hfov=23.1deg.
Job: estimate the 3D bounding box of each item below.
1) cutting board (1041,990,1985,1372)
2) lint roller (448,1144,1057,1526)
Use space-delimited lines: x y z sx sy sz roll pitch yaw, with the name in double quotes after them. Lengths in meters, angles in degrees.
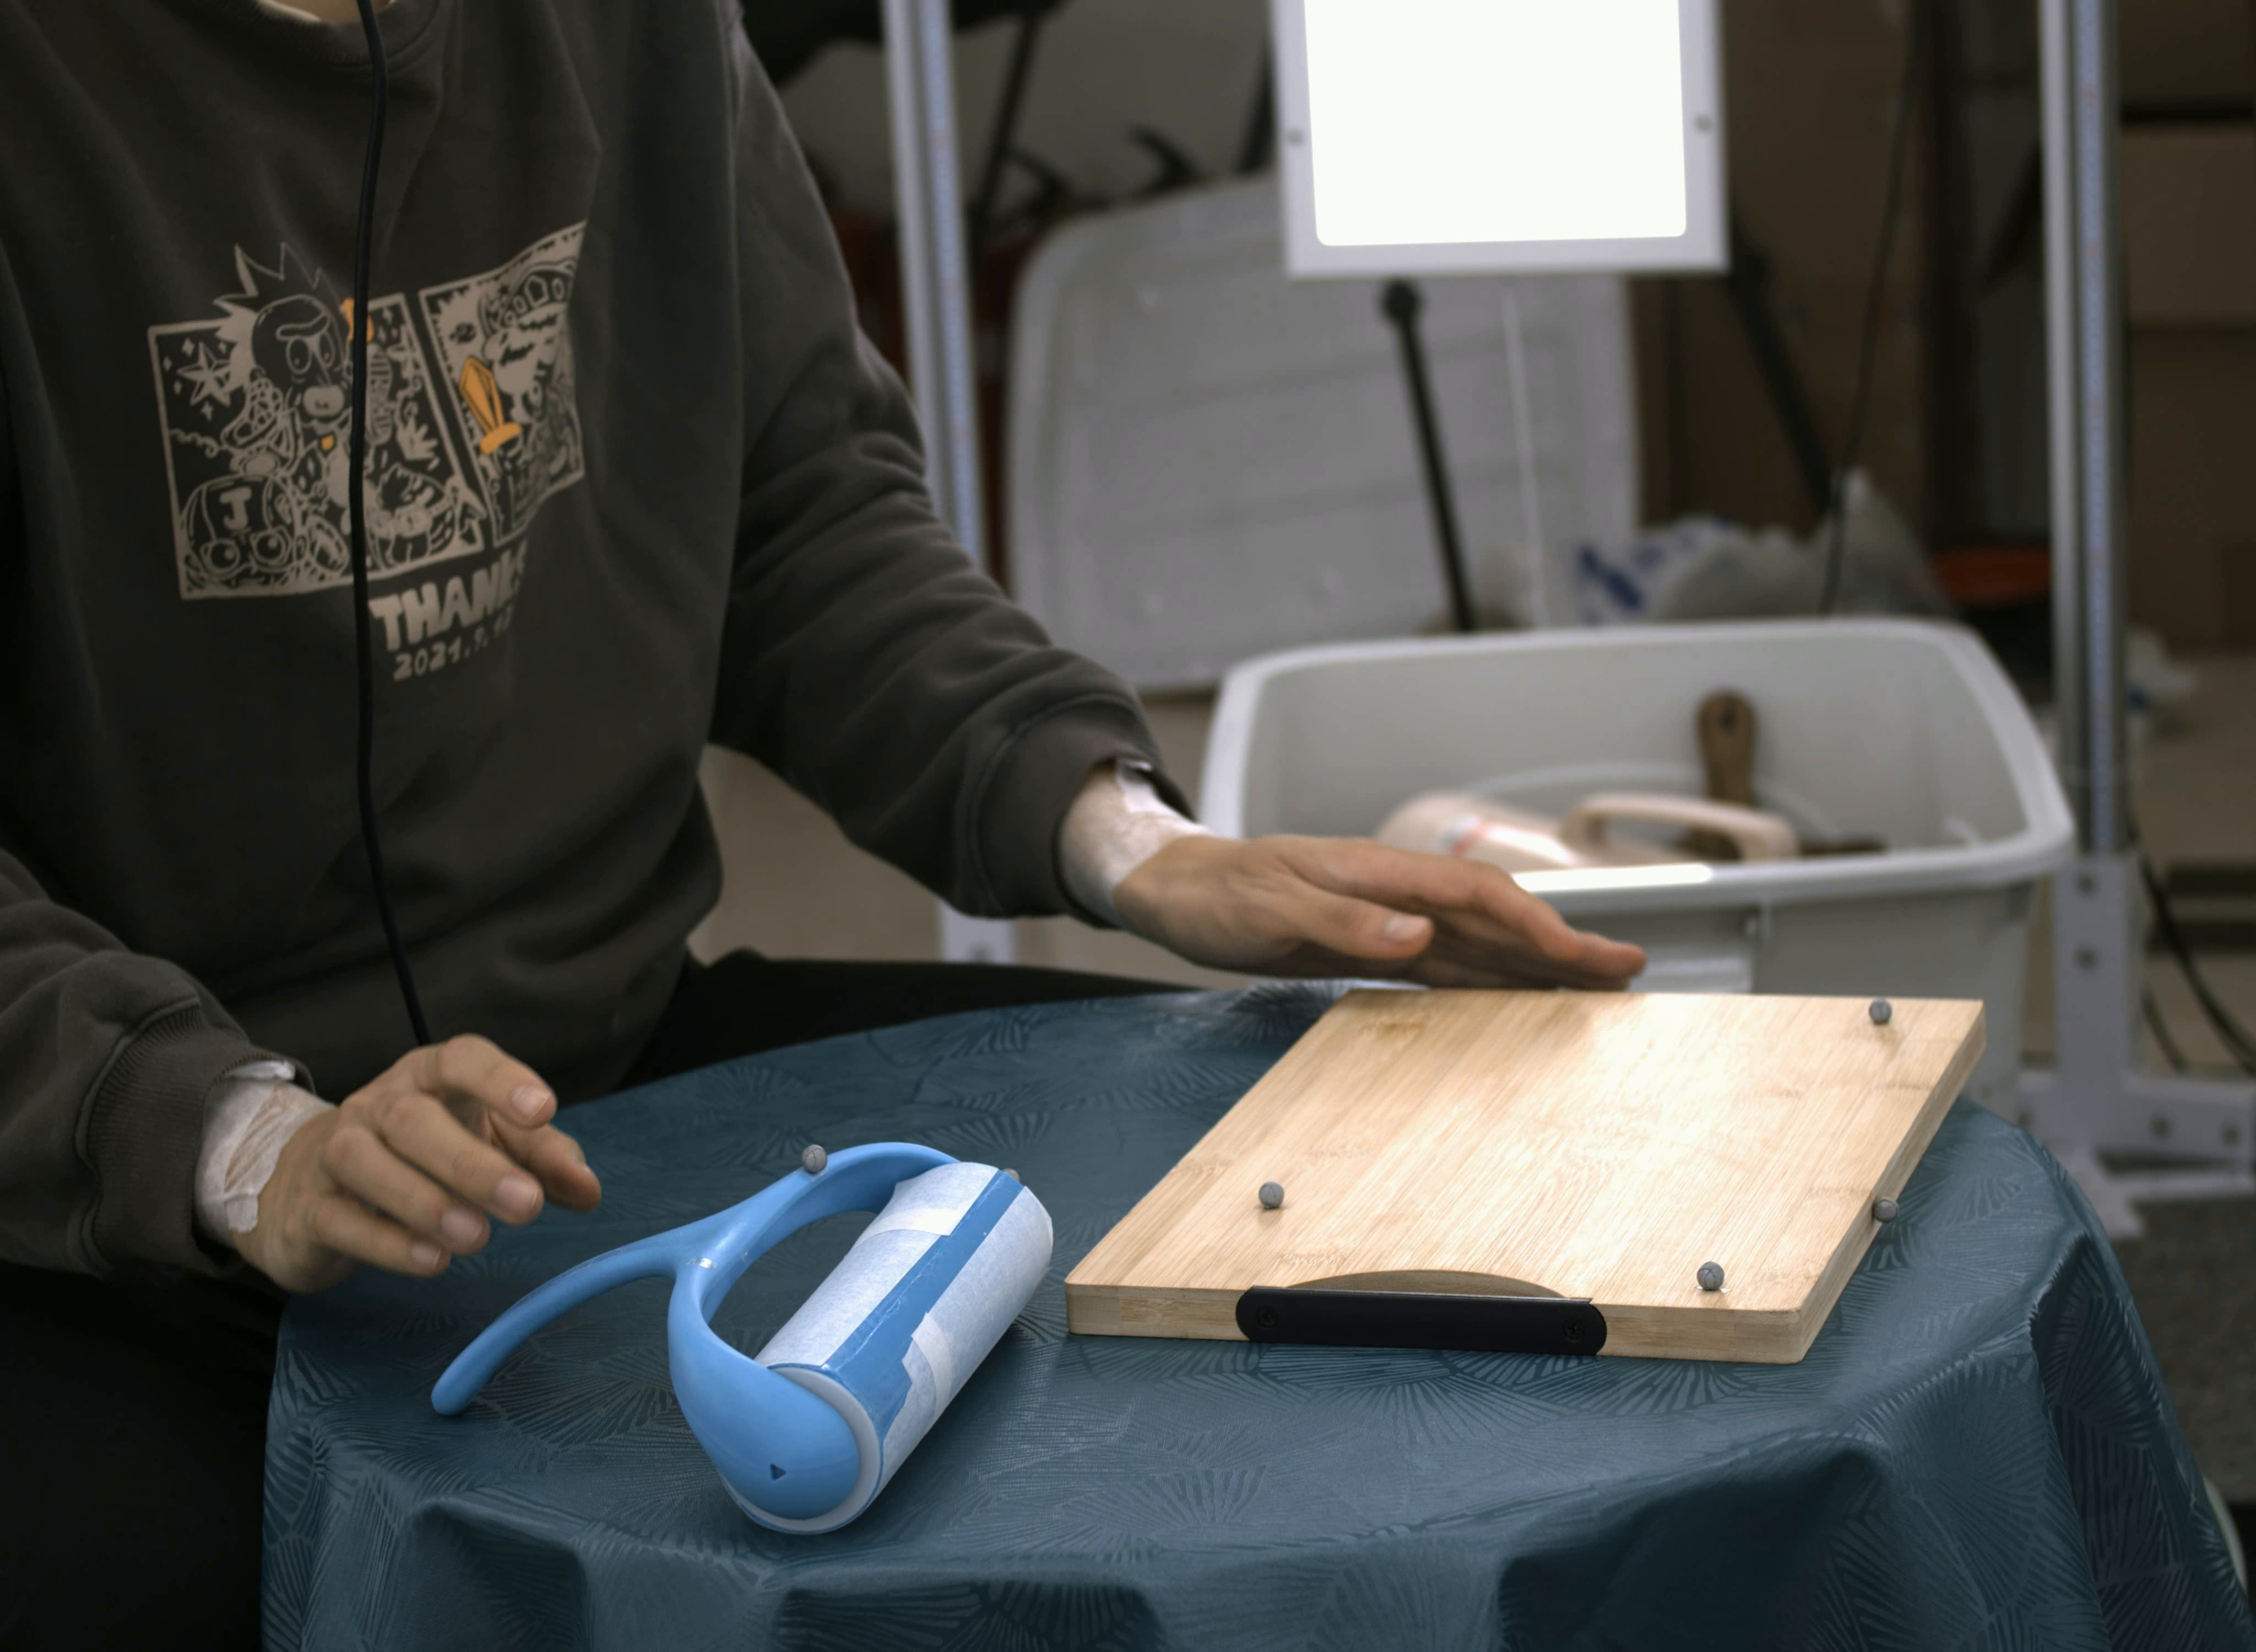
0.142 0.115 1.860 0.254 0.023 0.343 -1 14 19 "cutting board"
-0.127 0.156 1.702 0.181 0.068 0.226 -2 15 12 "lint roller"
